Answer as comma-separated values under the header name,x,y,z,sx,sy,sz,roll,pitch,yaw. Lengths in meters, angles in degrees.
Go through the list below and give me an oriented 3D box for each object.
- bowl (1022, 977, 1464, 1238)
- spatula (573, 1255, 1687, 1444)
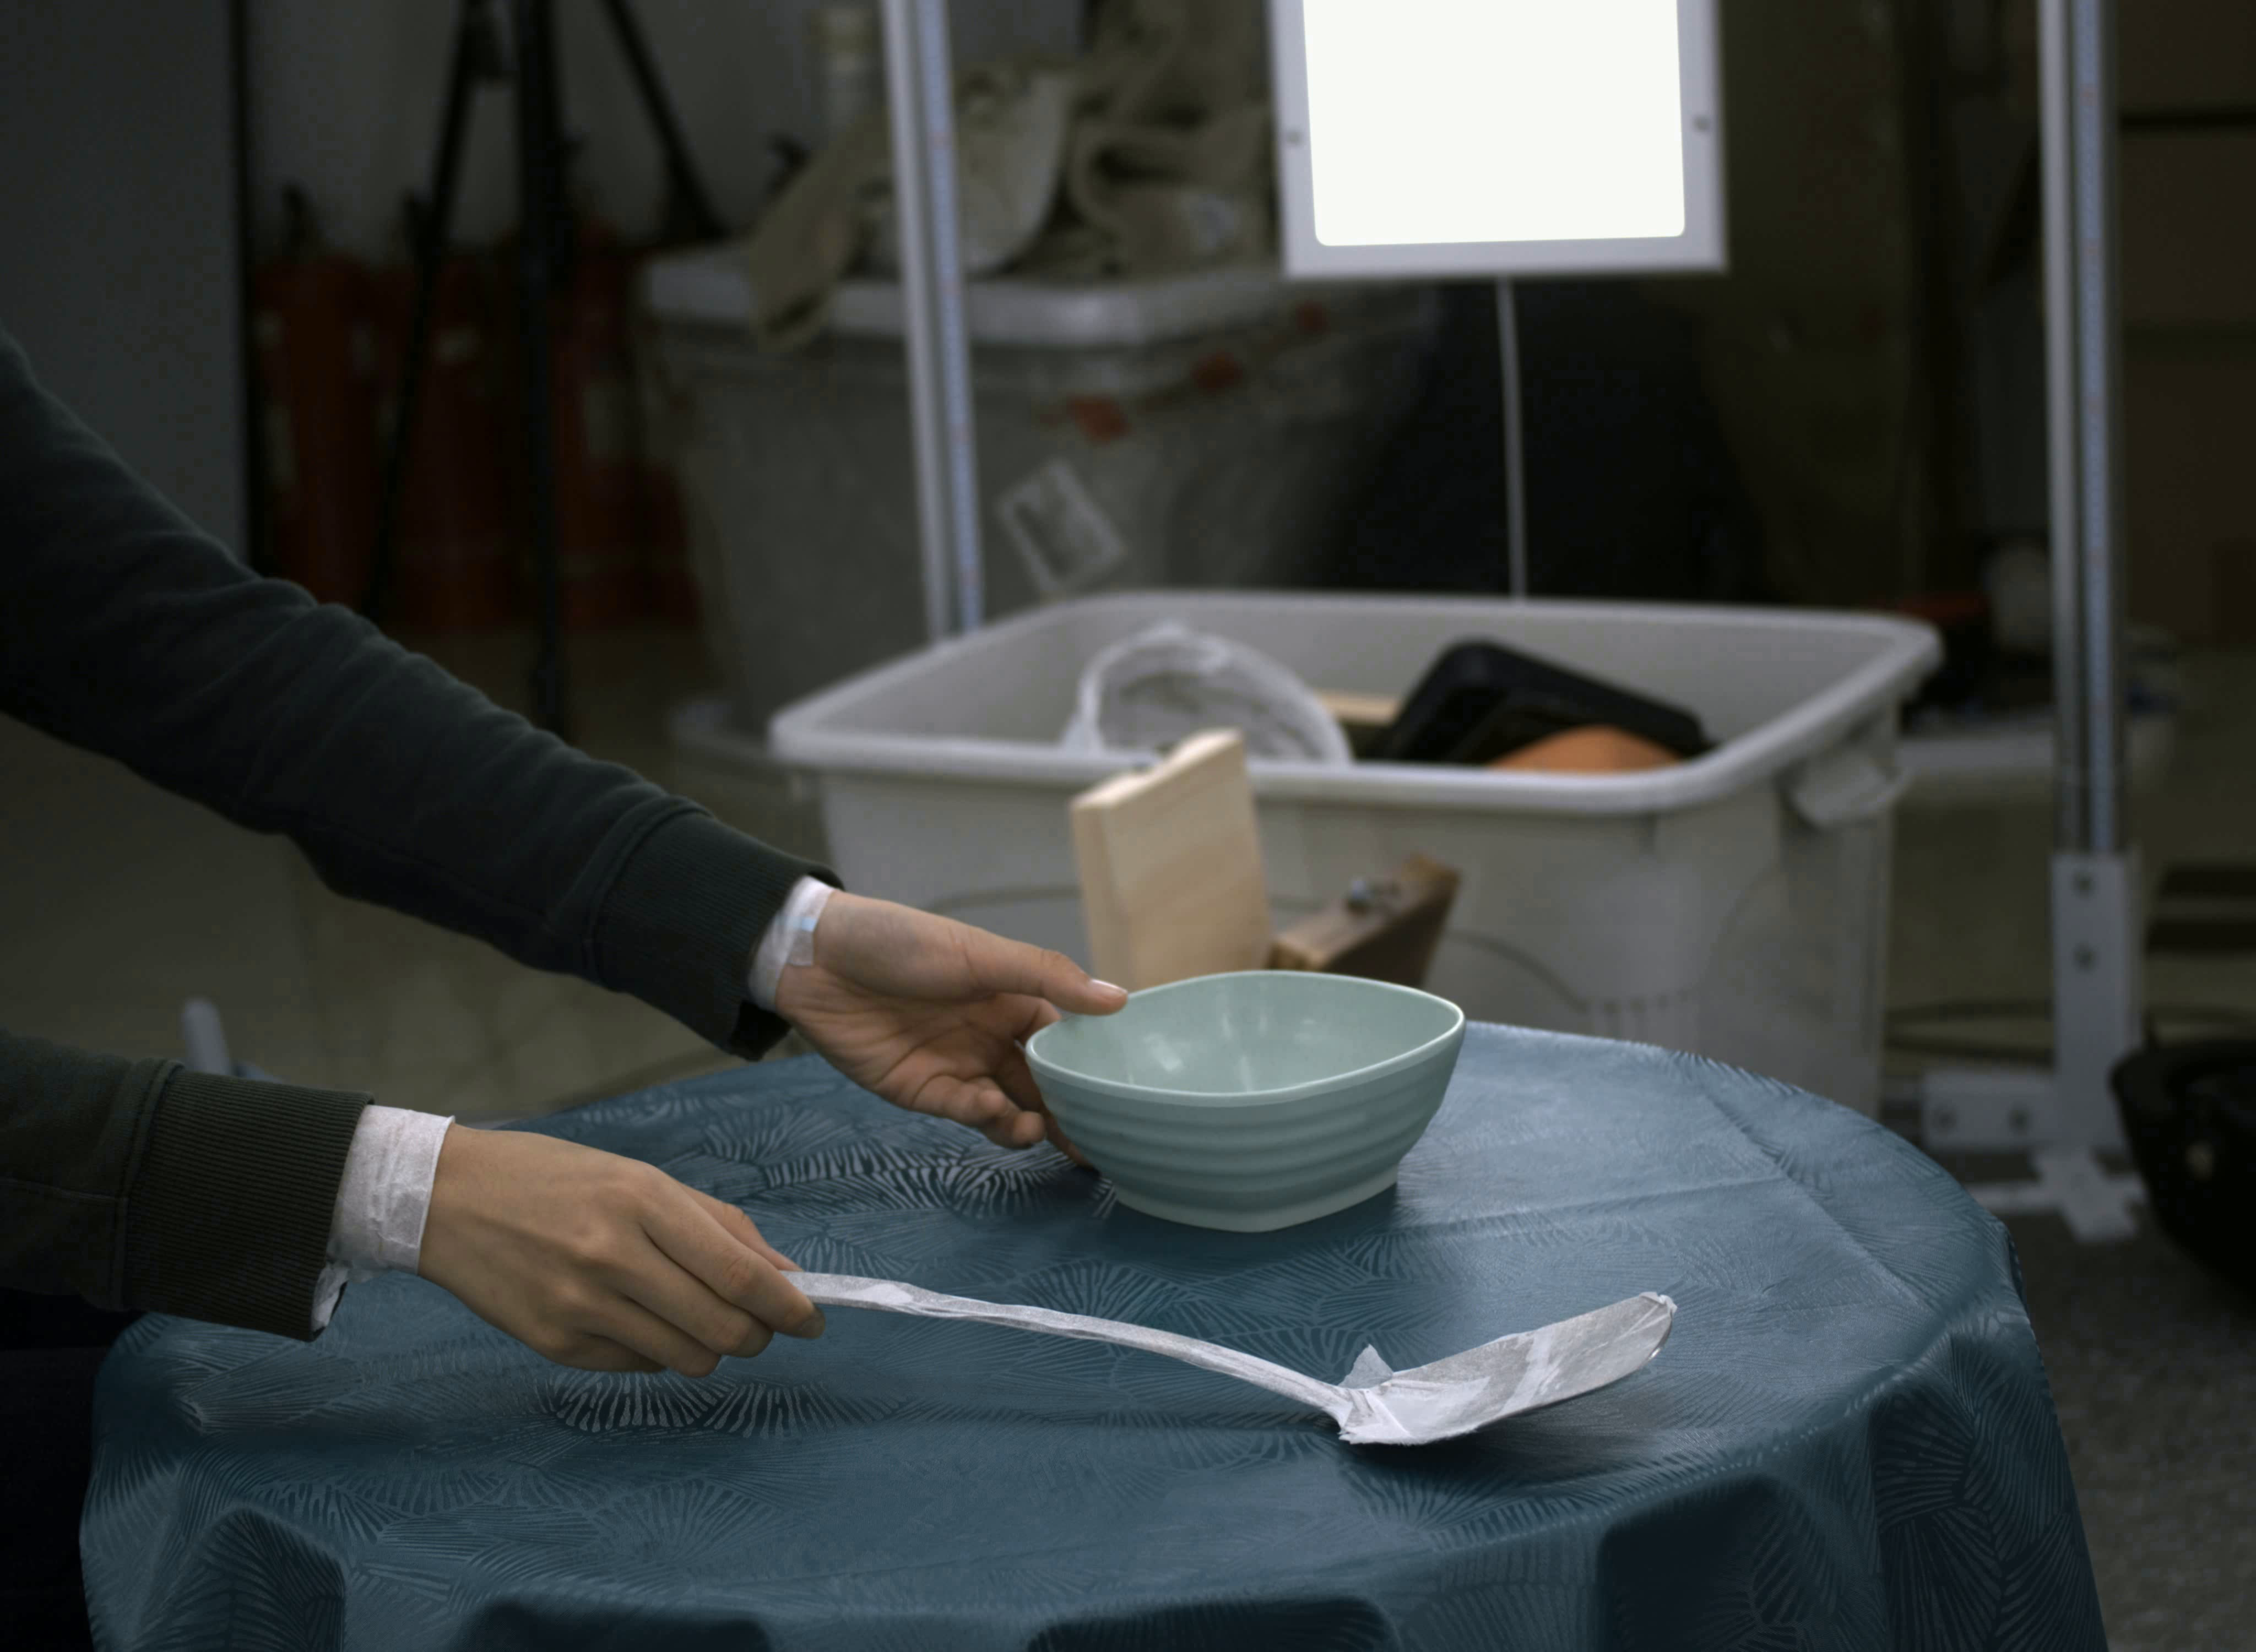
name,x,y,z,sx,sy,sz,roll,pitch,yaw
bowl,0.040,0.099,1.882,0.151,0.059,0.151,-3,13,-1
spatula,-0.010,0.148,1.685,0.370,0.045,0.097,7,18,21
